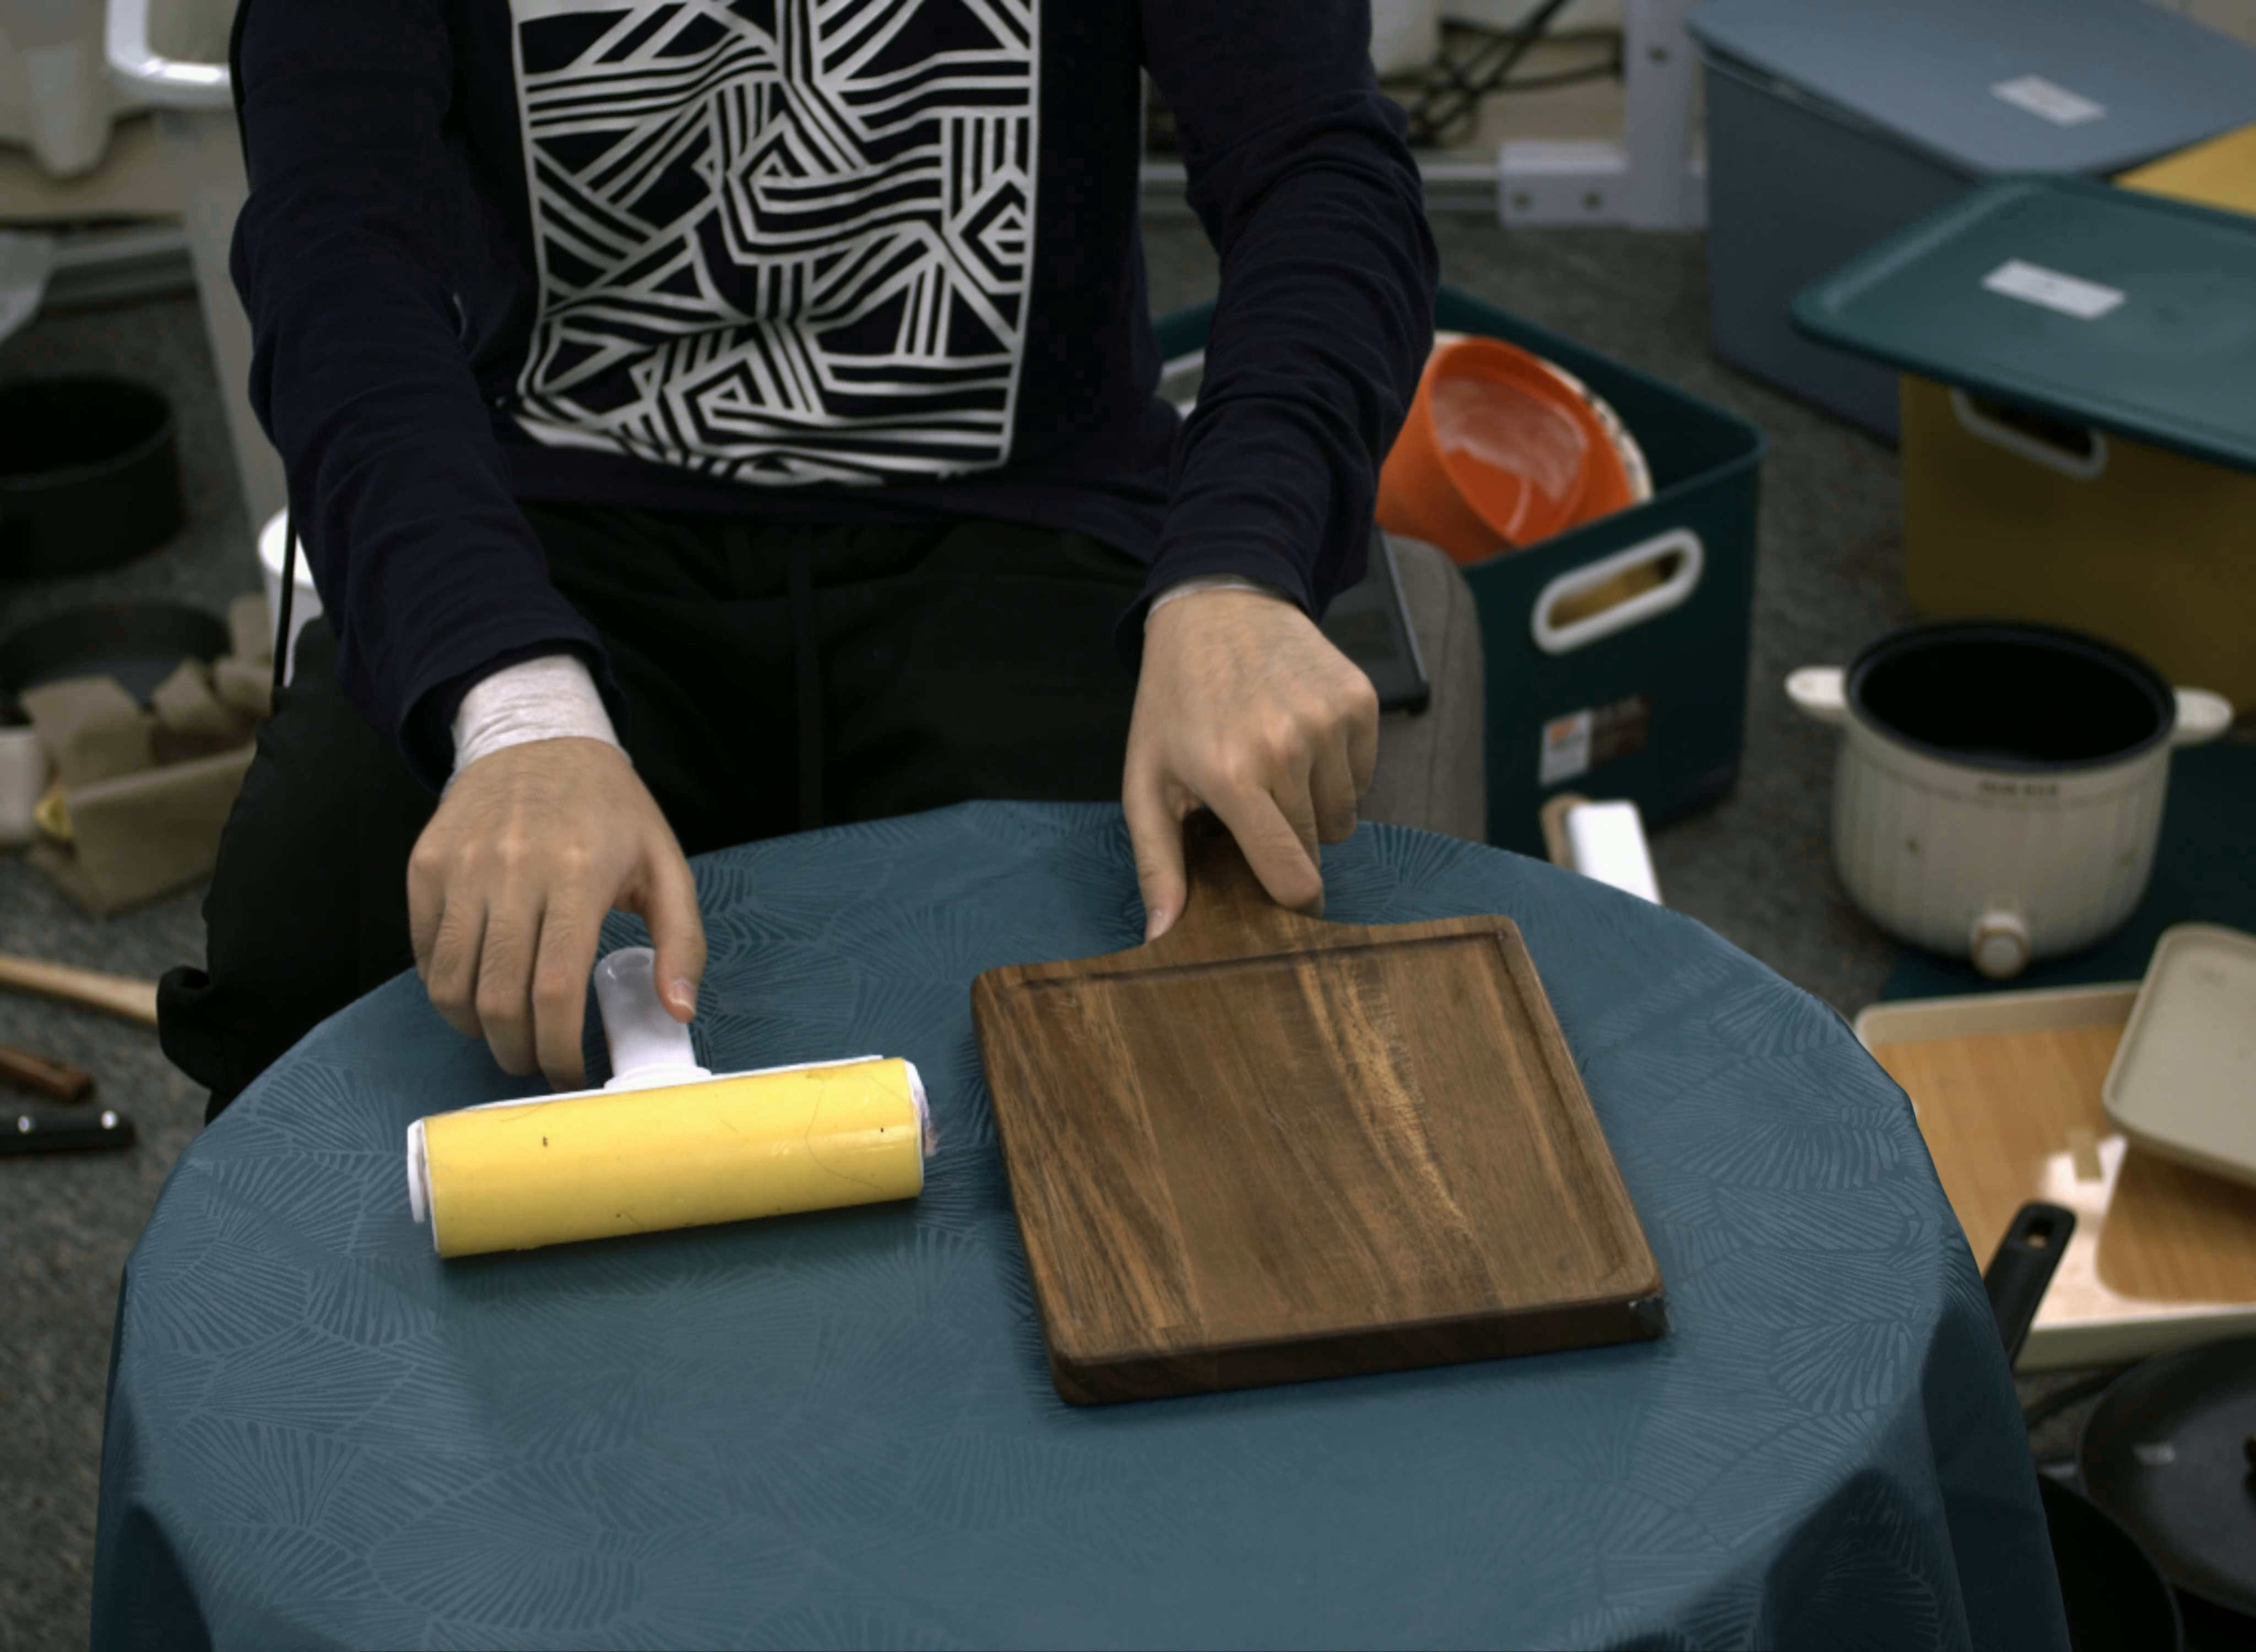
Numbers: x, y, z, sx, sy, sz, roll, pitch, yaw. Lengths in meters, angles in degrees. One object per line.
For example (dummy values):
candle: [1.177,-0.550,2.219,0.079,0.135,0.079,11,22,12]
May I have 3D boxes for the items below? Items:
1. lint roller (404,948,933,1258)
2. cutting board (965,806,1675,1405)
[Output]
lint roller: [-0.165,0.077,1.910,0.174,0.051,0.194,-7,30,-9]
cutting board: [0.051,0.082,1.905,0.200,0.023,0.357,-6,28,-6]
